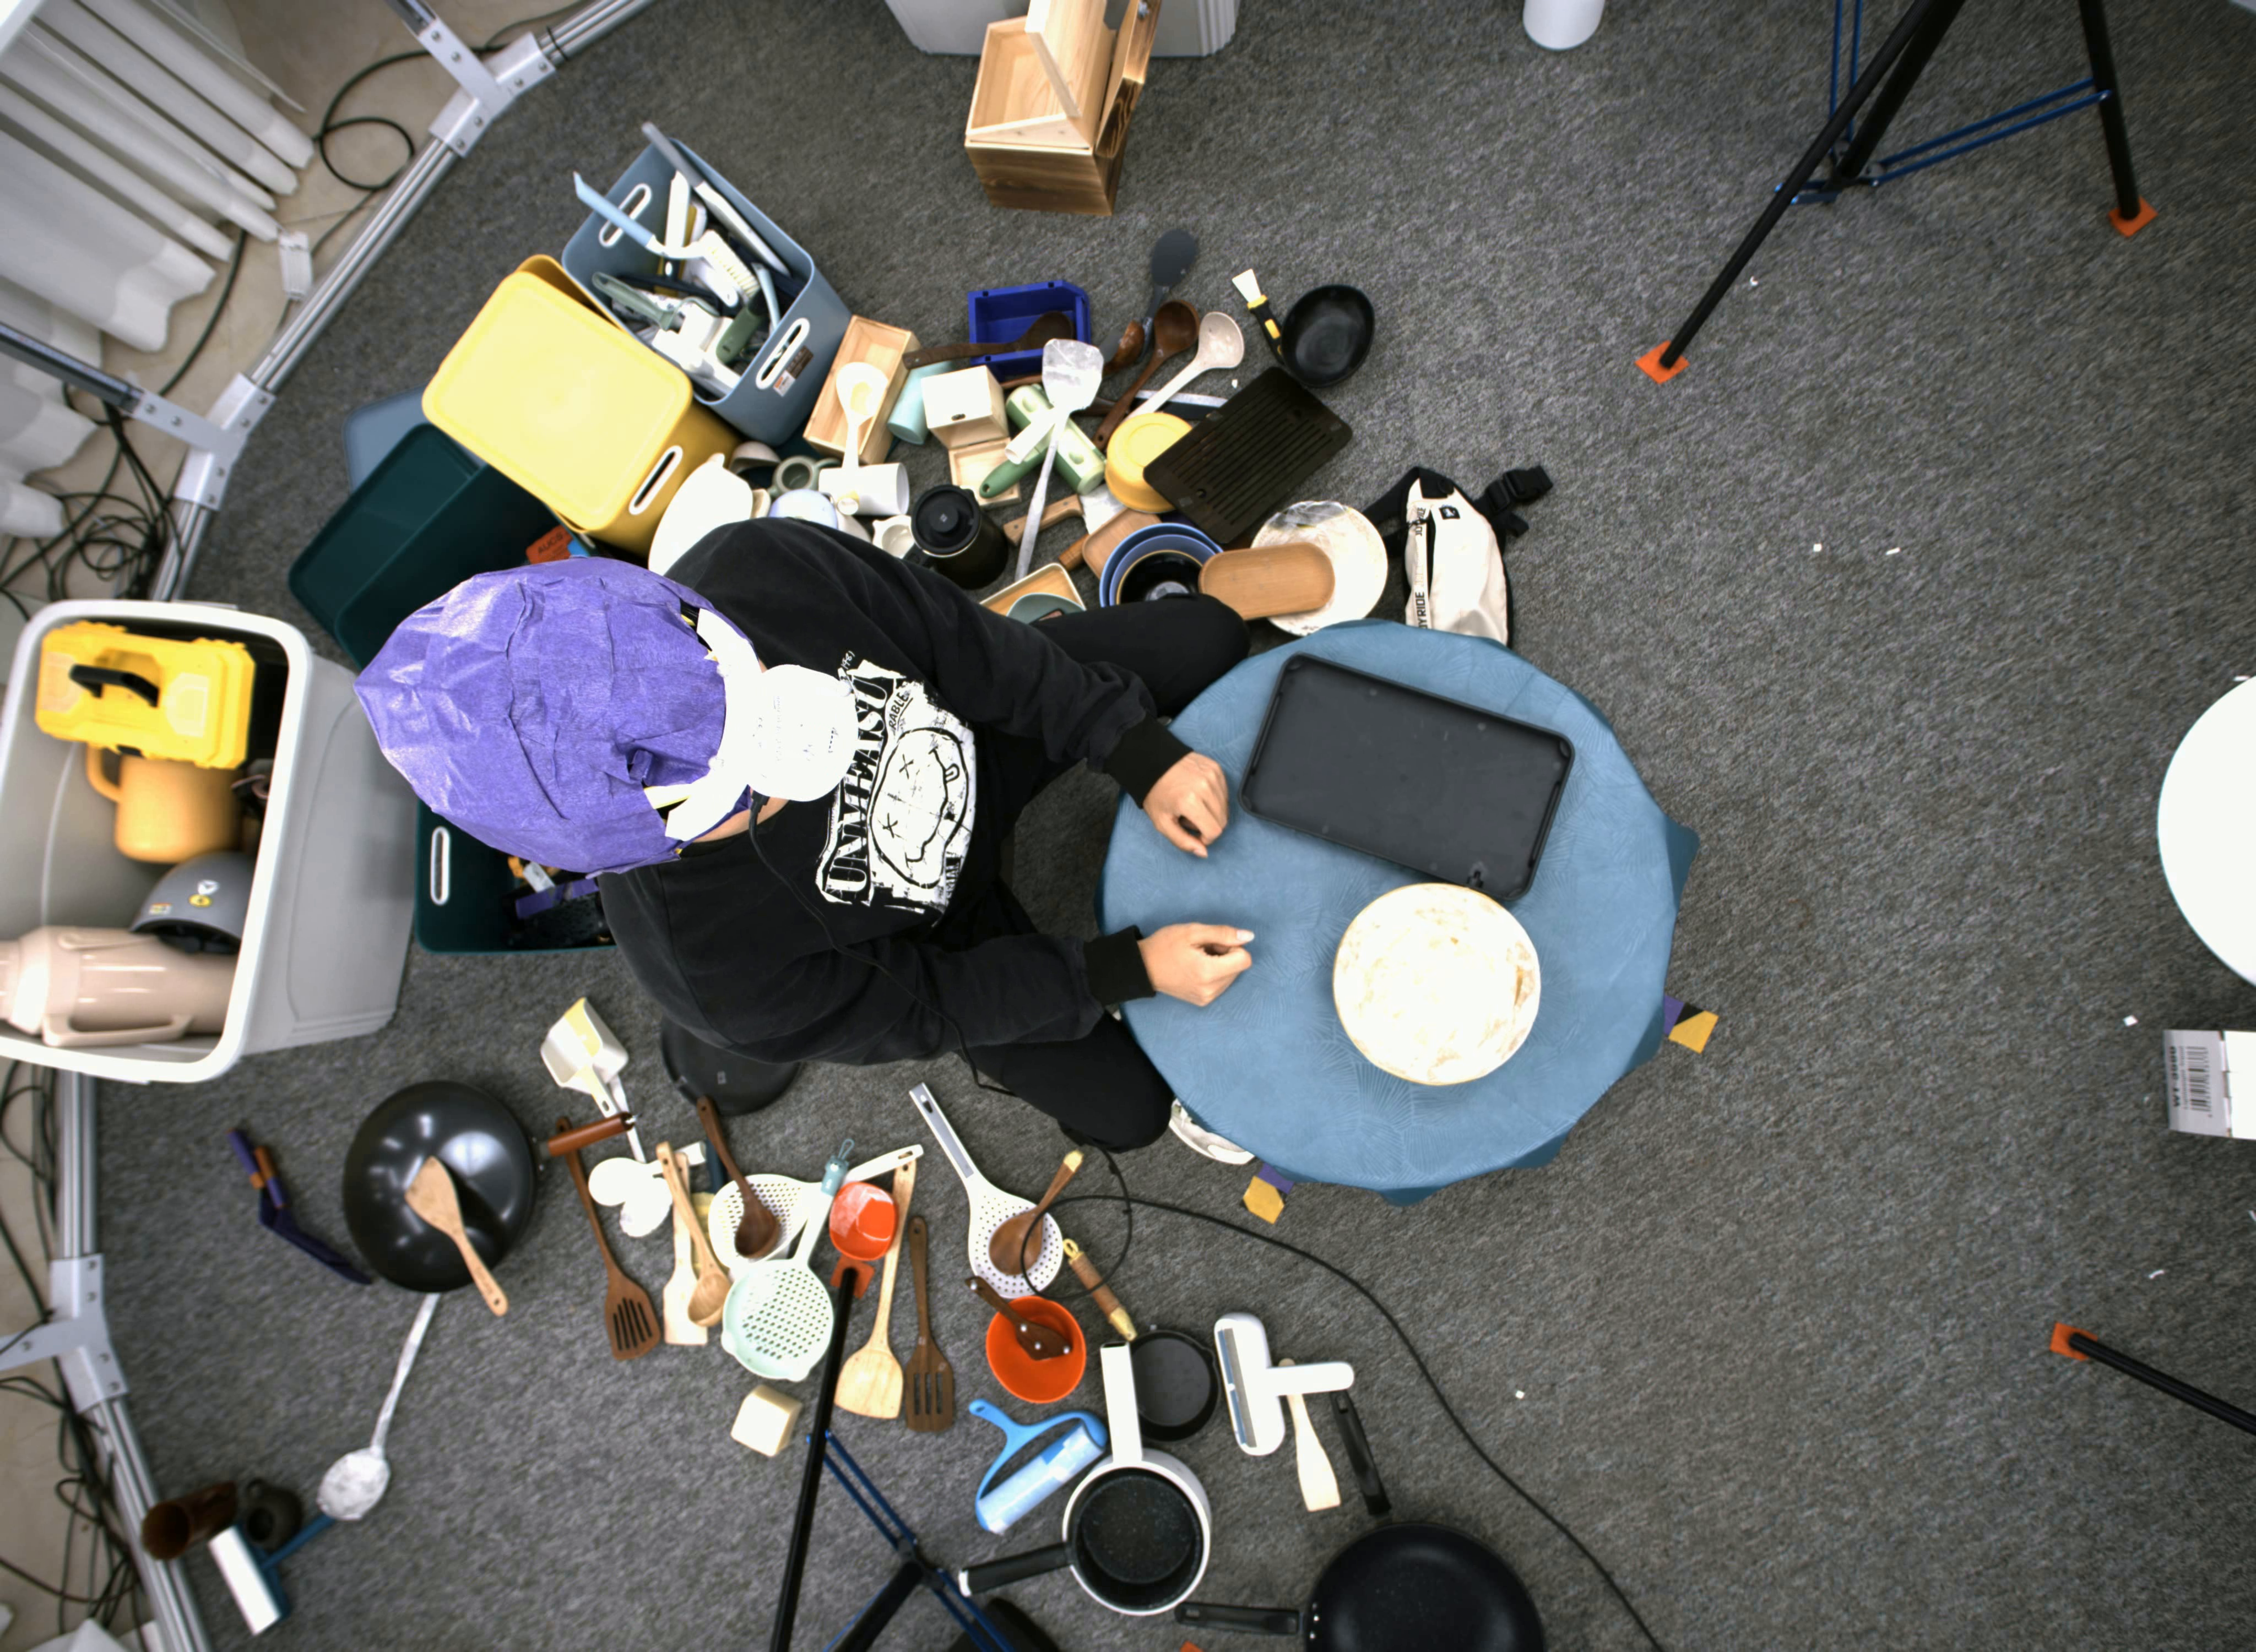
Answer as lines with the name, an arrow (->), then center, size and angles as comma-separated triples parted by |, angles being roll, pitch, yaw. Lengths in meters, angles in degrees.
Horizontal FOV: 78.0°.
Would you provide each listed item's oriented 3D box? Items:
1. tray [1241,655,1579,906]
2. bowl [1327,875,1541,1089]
tray -> 0.293, -0.050, 1.449 | 0.318, 0.037, 0.184 | 20, 91, 12
bowl -> 0.309, 0.157, 1.405 | 0.215, 0.094, 0.213 | -1, 86, 11
